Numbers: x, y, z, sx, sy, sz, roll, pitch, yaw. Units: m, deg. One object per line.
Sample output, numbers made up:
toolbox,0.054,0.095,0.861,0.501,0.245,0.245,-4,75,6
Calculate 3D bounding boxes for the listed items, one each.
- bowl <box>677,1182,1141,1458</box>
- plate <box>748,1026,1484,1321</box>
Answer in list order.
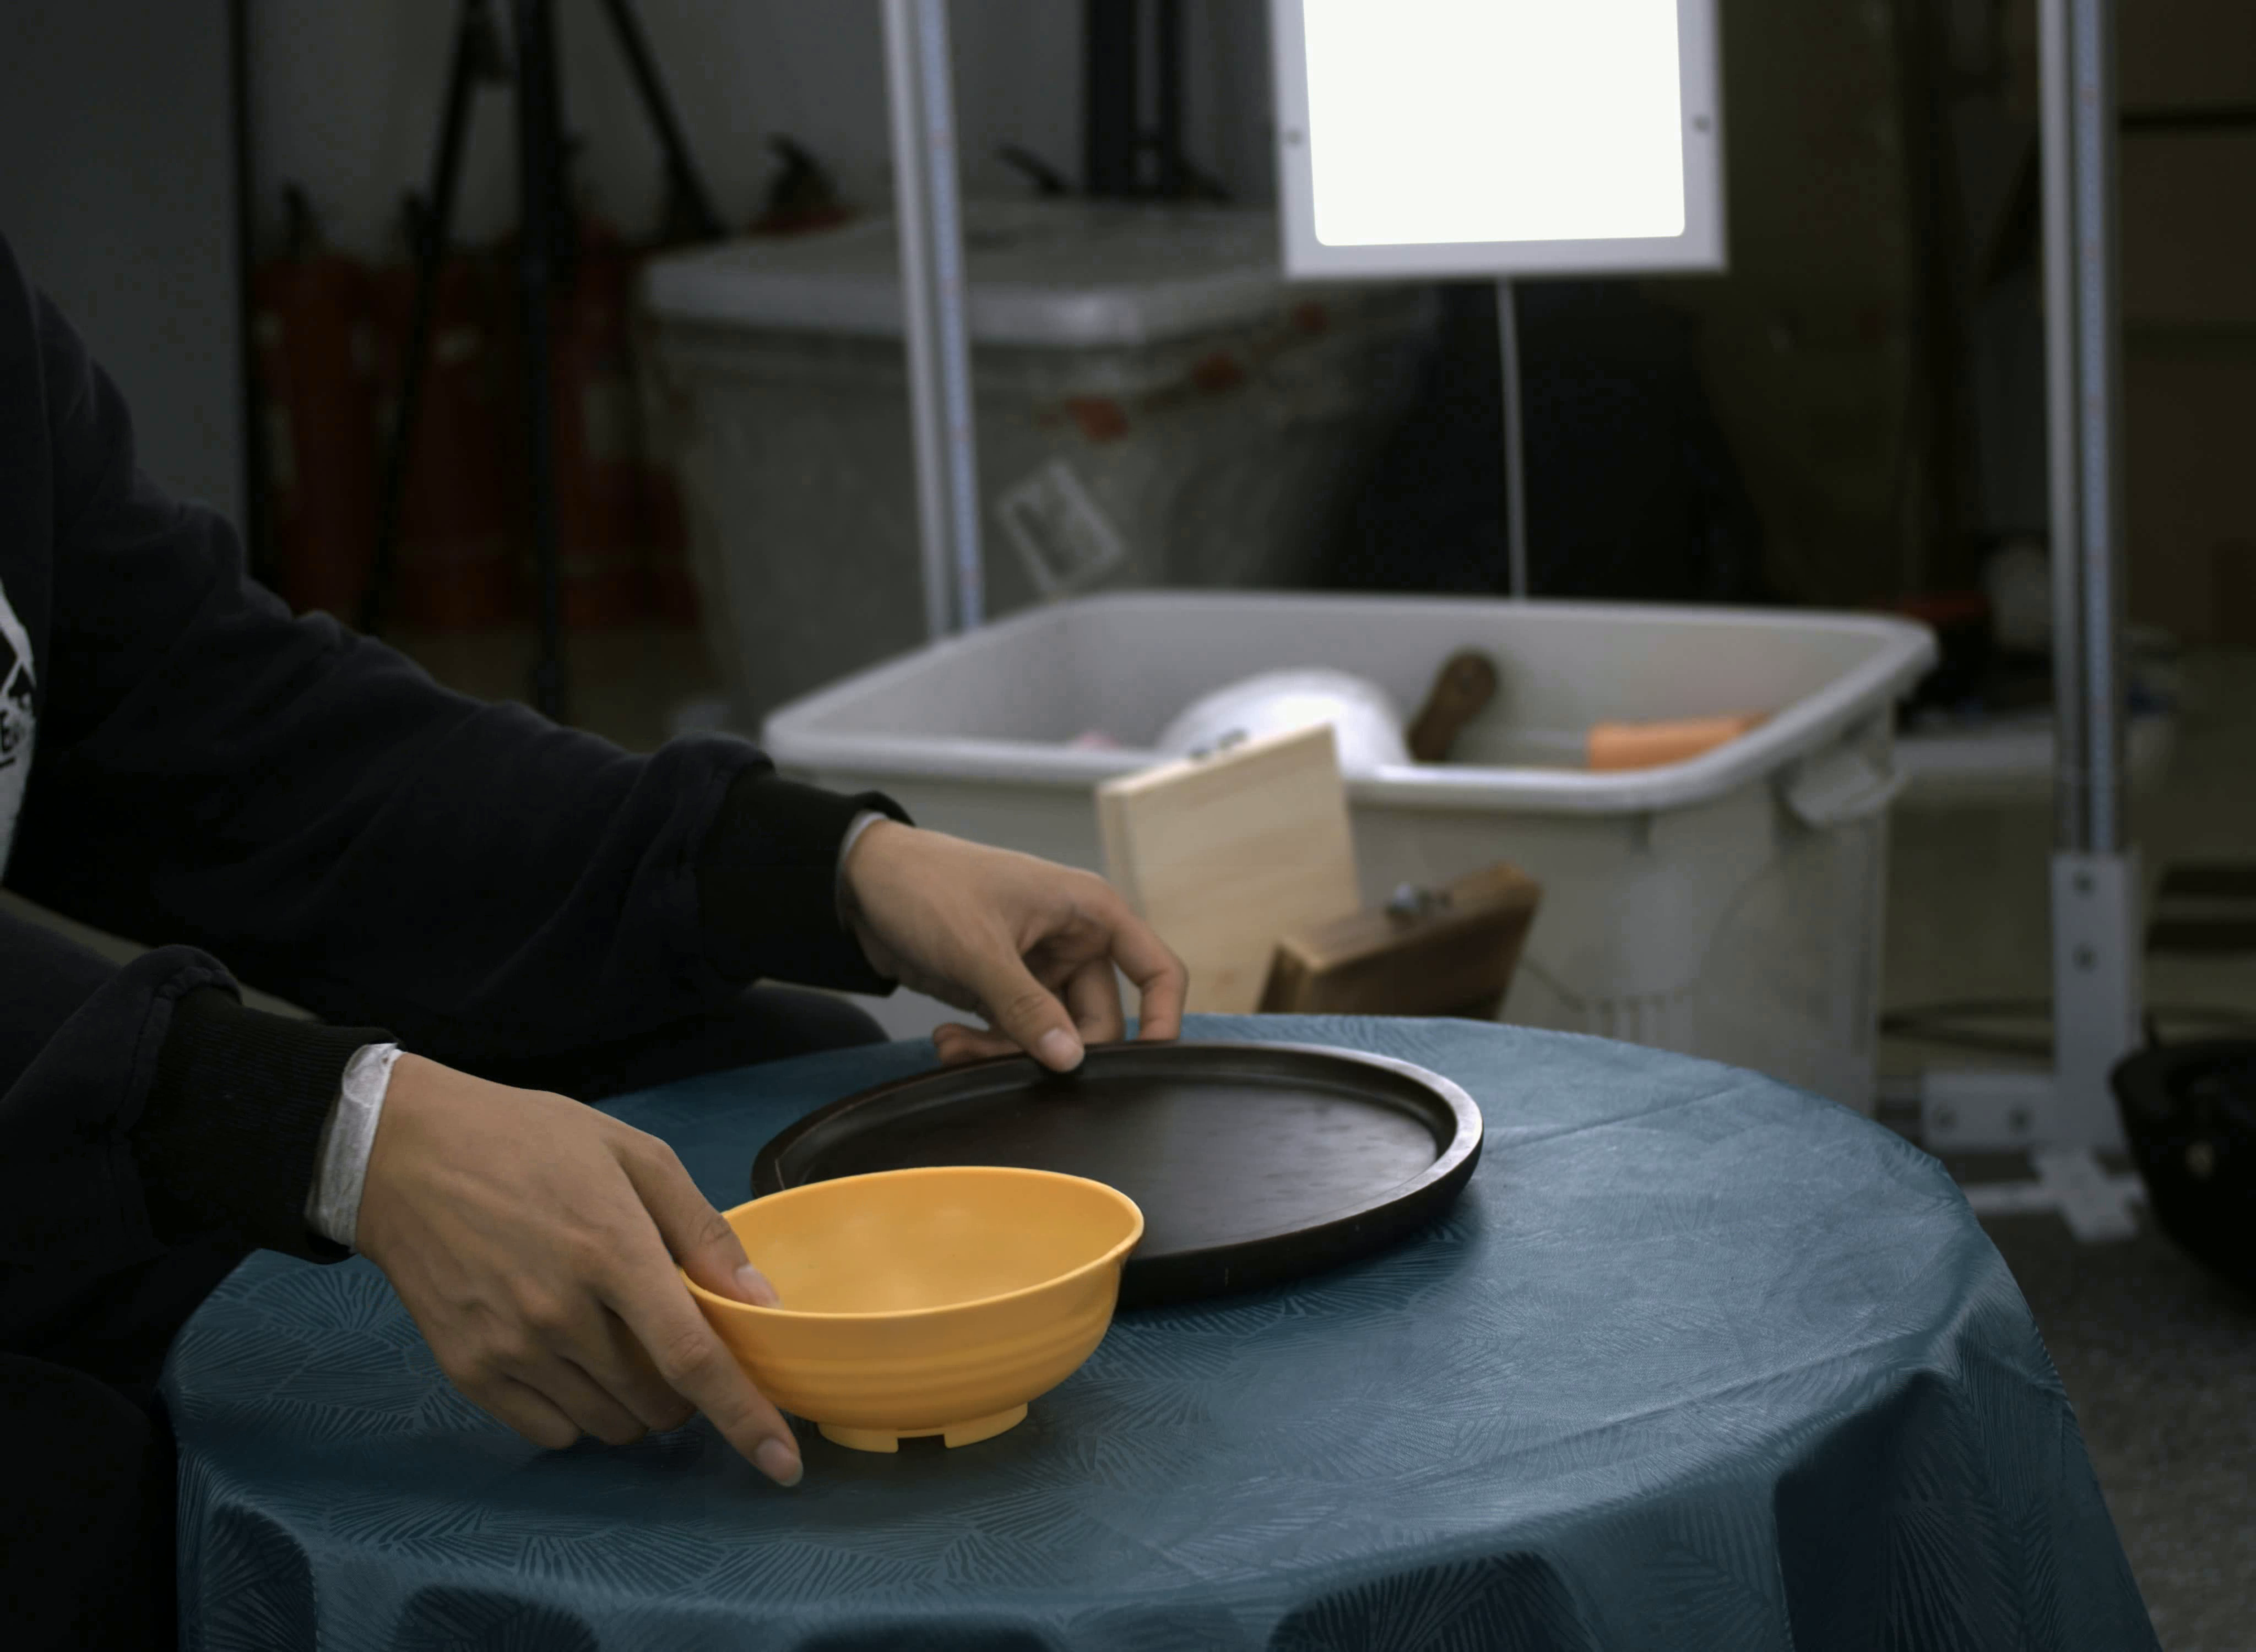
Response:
bowl,-0.064,0.155,1.687,0.145,0.060,0.145,-6,11,0
plate,-0.003,0.118,1.886,0.254,0.029,0.254,-6,15,0
